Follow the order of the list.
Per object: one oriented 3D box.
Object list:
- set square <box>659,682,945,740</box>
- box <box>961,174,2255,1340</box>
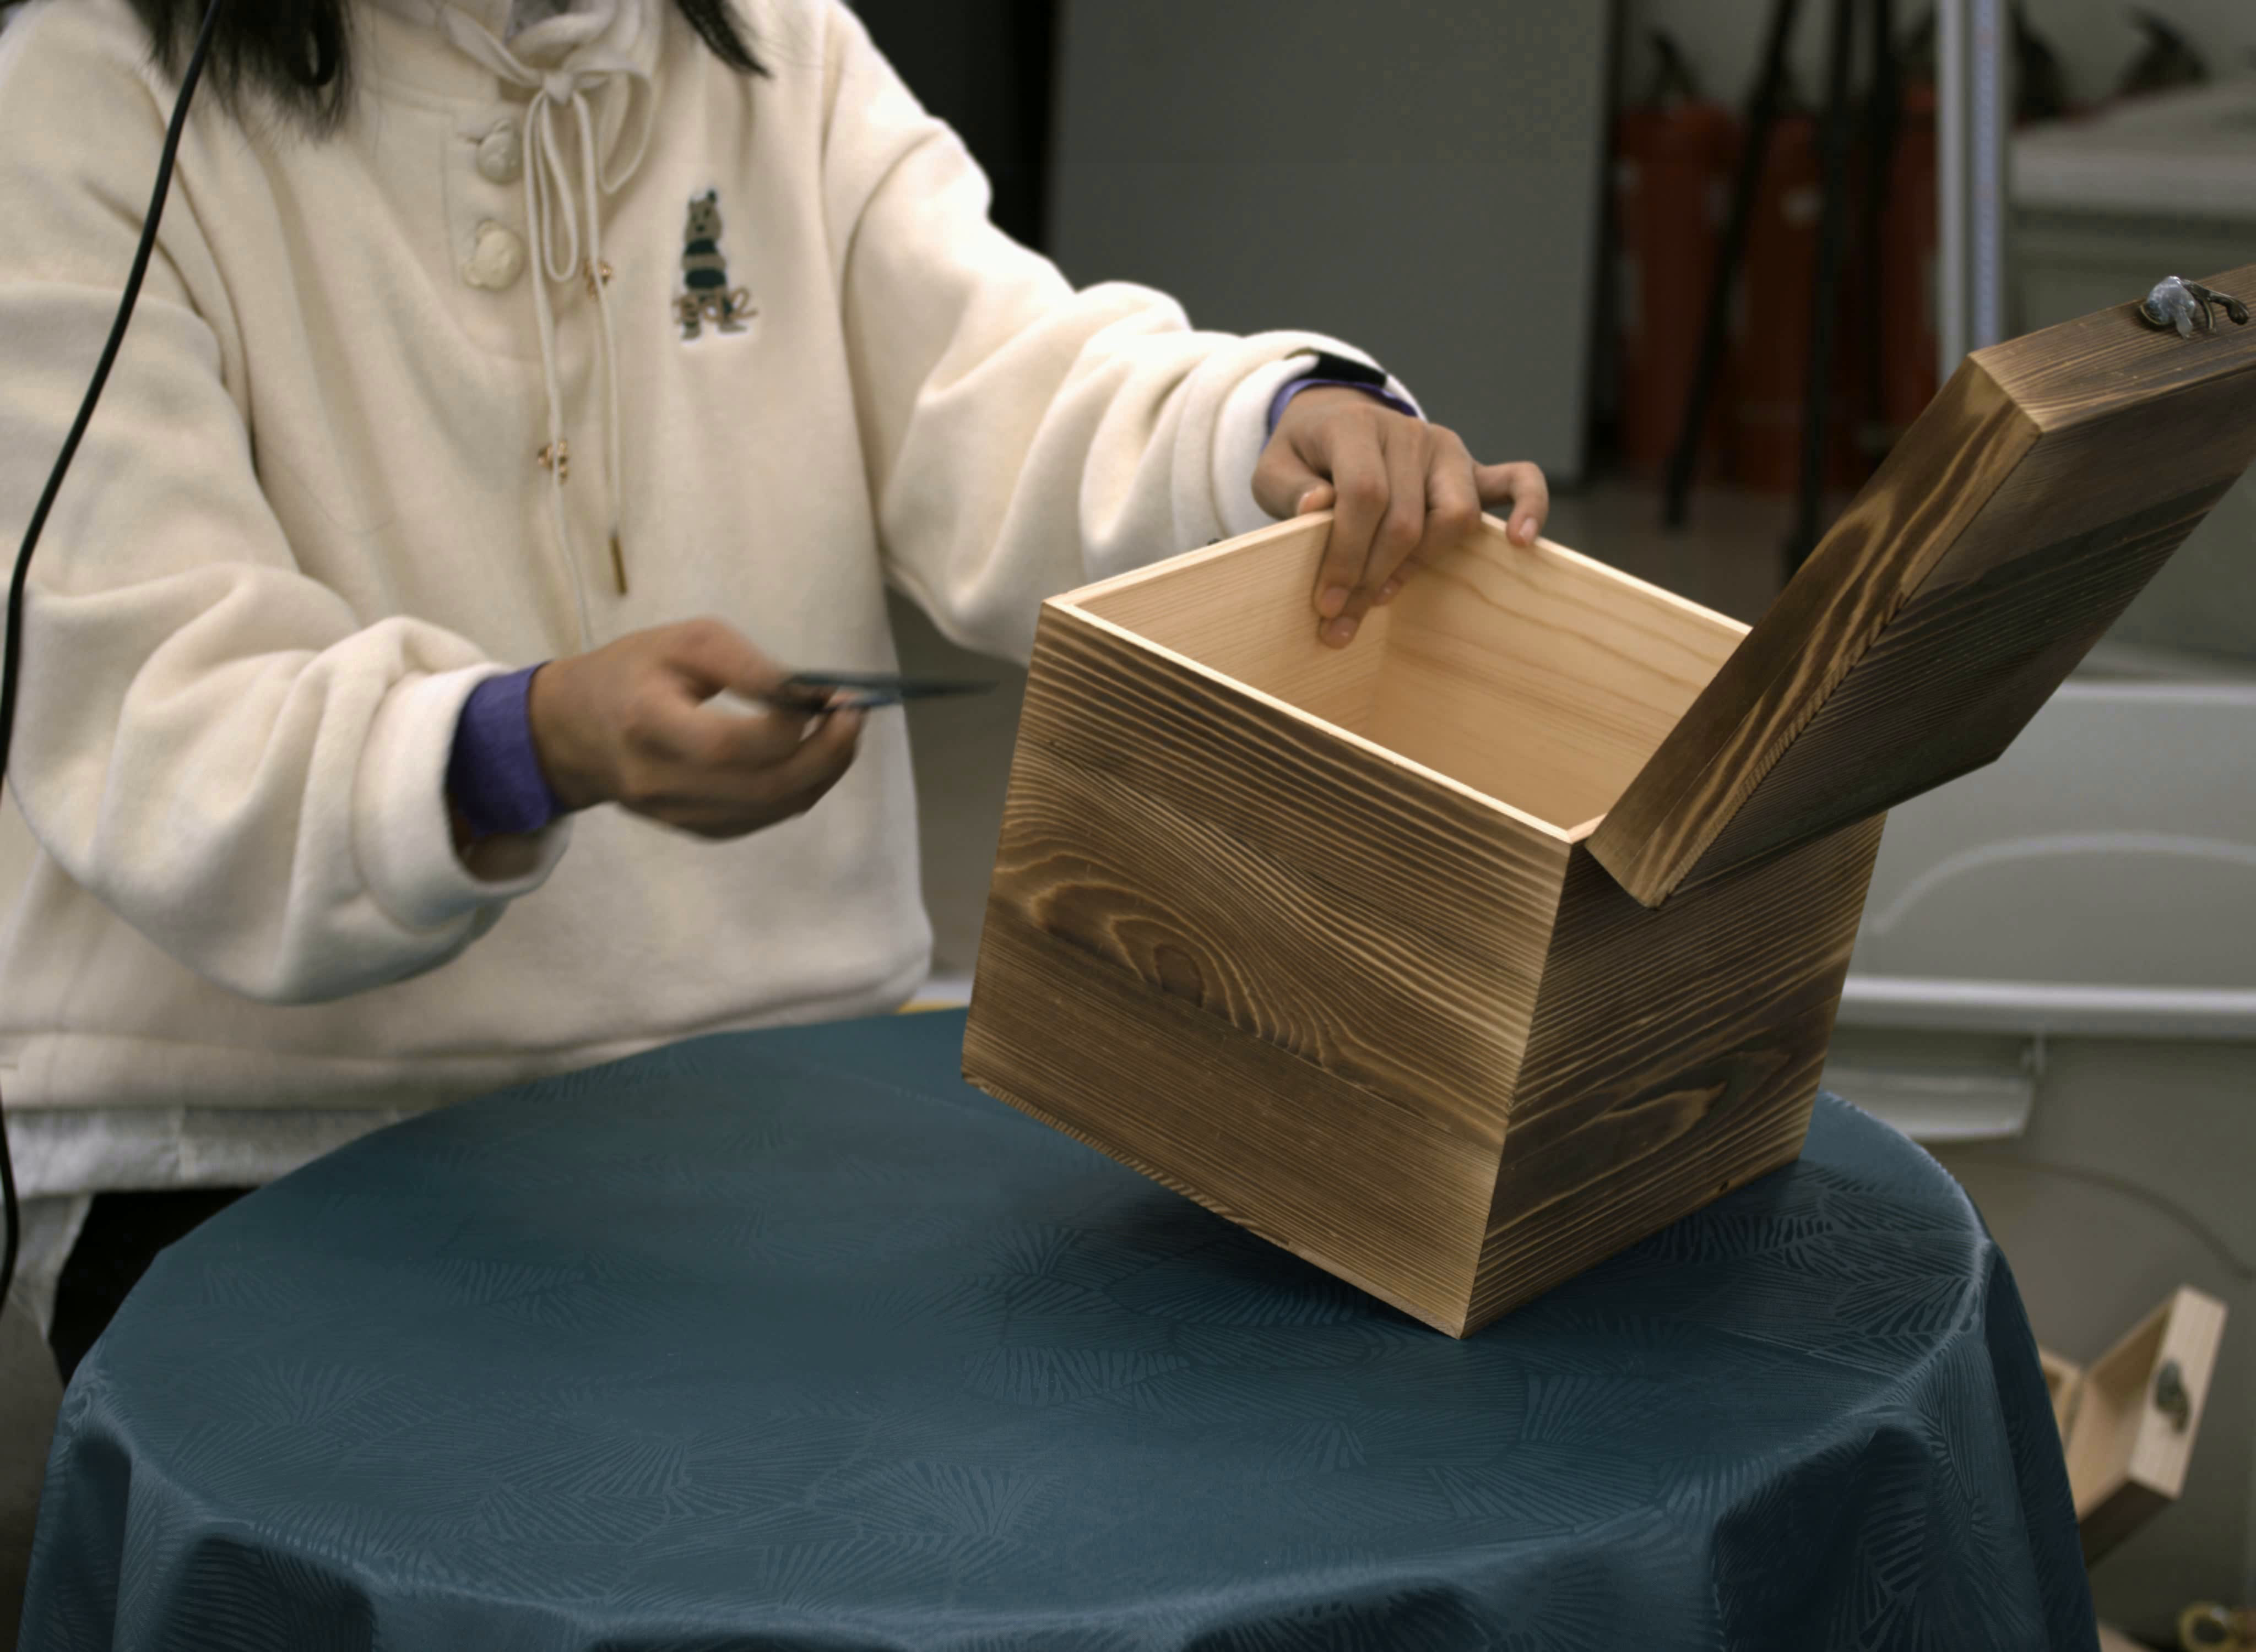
[{"bbox_3d":[-0.117,-0.036,1.698,0.061,0.006,0.129,-17,-10,35],"label":"set square"},{"bbox_3d":[0.153,-0.050,1.639,0.324,0.379,0.205,26,28,32],"label":"box"}]
